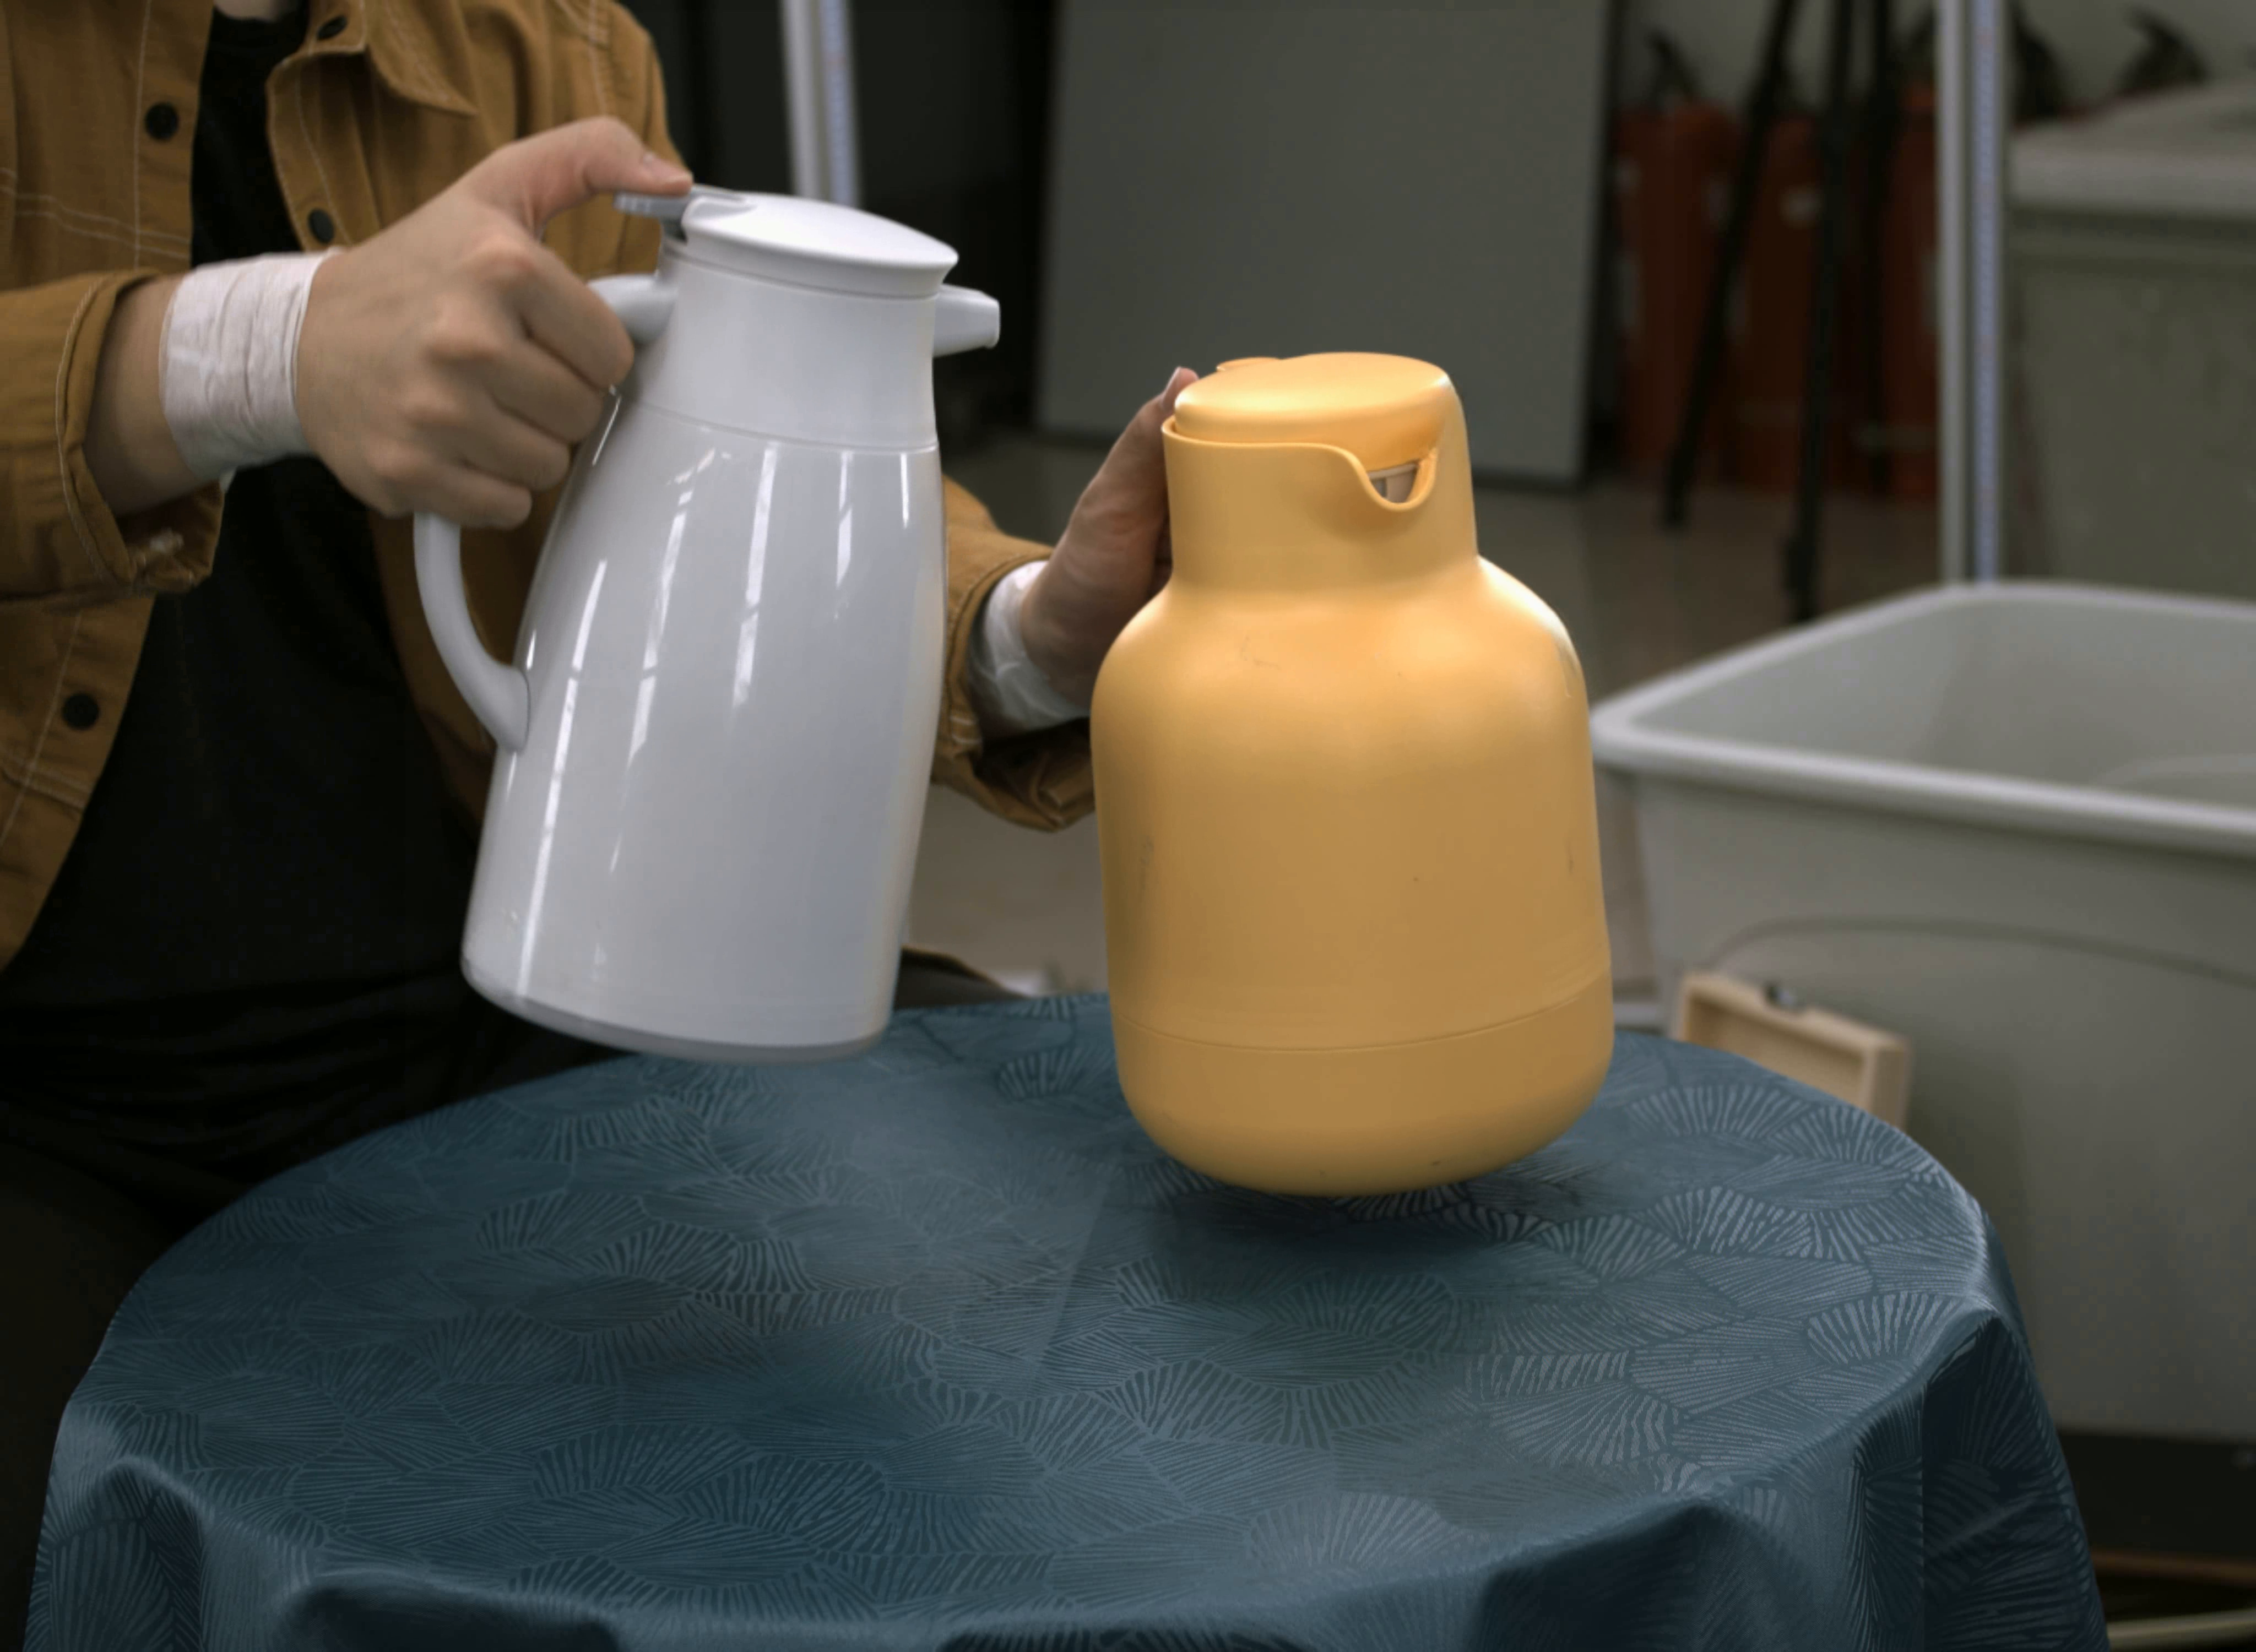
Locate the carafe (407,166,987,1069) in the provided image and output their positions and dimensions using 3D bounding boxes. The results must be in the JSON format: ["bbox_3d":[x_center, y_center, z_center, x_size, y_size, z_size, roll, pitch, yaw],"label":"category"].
[{"bbox_3d":[-0.133,-0.067,1.603,0.164,0.251,0.134,4,13,-22],"label":"carafe"}]

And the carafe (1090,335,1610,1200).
[{"bbox_3d":[0.064,-0.027,1.738,0.160,0.263,0.204,-8,15,-15],"label":"carafe"}]
